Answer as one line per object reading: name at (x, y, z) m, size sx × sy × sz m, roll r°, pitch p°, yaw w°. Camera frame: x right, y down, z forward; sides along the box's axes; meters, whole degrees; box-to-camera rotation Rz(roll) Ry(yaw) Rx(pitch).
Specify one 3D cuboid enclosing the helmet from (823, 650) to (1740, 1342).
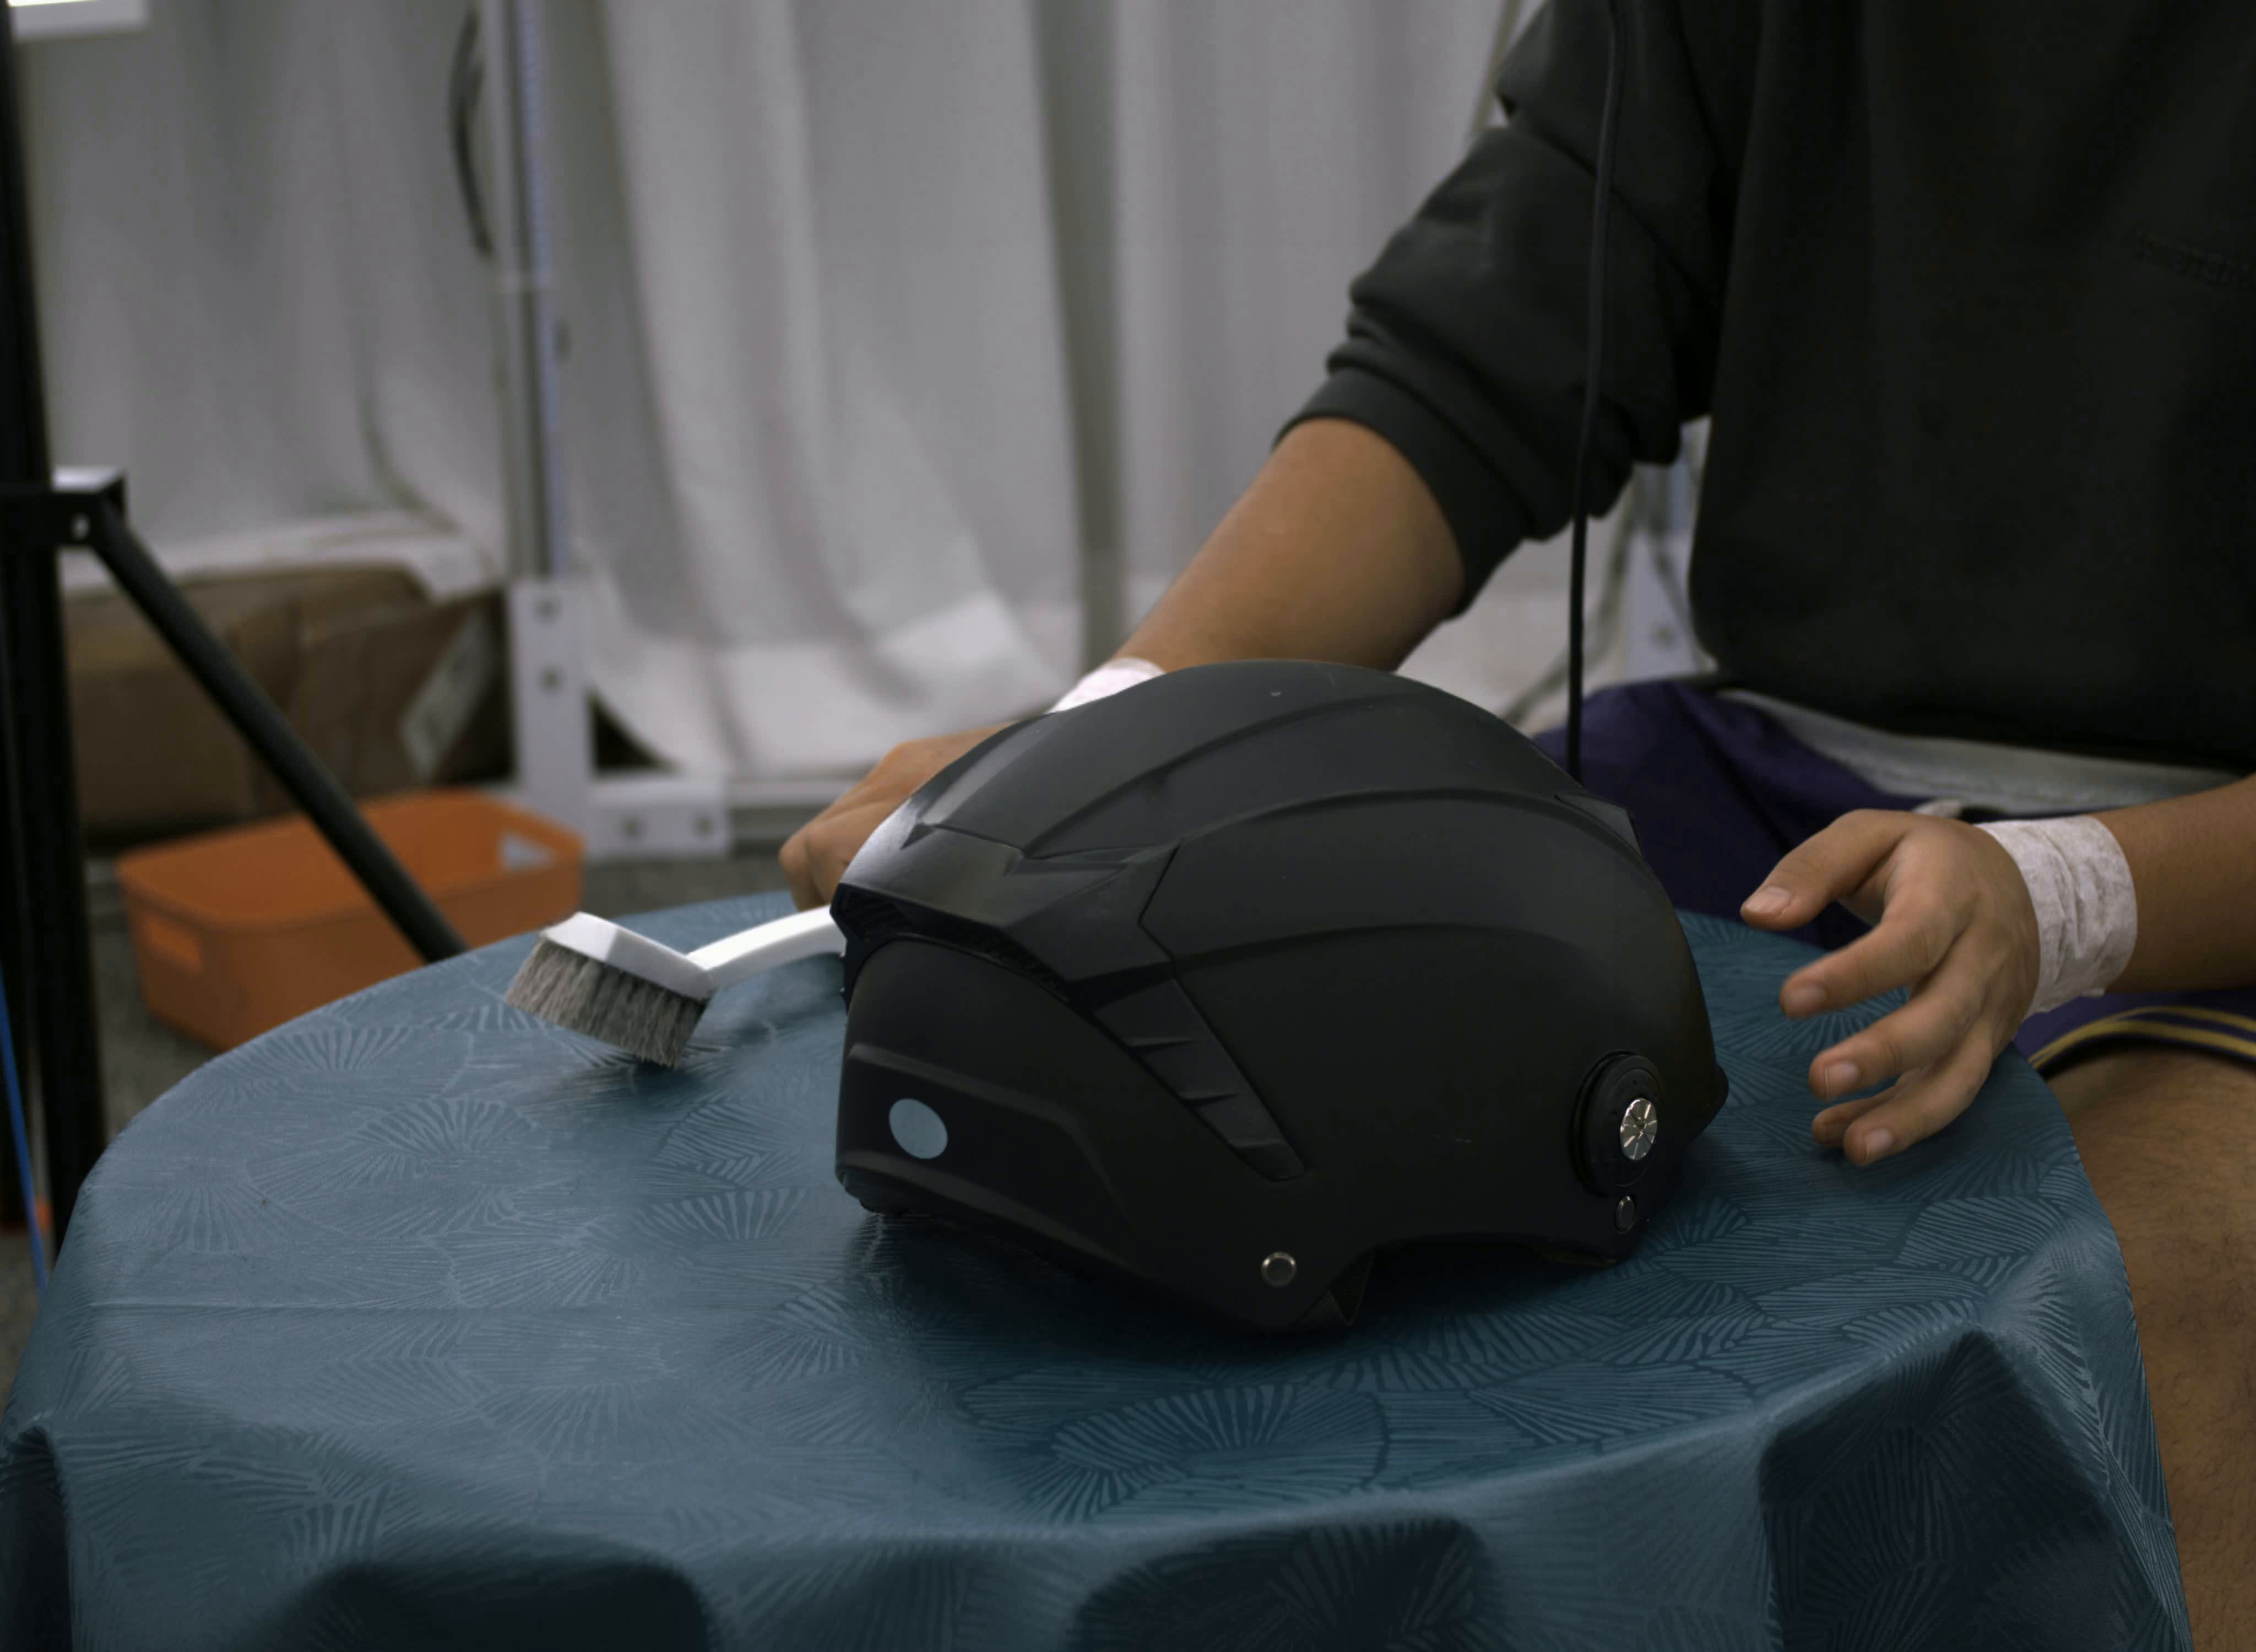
helmet at (0.044, 0.036, 1.515) m, size 0.270 × 0.172 × 0.252 m, roll -17°, pitch 21°, yaw -37°

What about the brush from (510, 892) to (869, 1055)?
brush at (-0.108, 0.047, 1.751) m, size 0.035 × 0.050 × 0.237 m, roll 14°, pitch 9°, yaw 38°
